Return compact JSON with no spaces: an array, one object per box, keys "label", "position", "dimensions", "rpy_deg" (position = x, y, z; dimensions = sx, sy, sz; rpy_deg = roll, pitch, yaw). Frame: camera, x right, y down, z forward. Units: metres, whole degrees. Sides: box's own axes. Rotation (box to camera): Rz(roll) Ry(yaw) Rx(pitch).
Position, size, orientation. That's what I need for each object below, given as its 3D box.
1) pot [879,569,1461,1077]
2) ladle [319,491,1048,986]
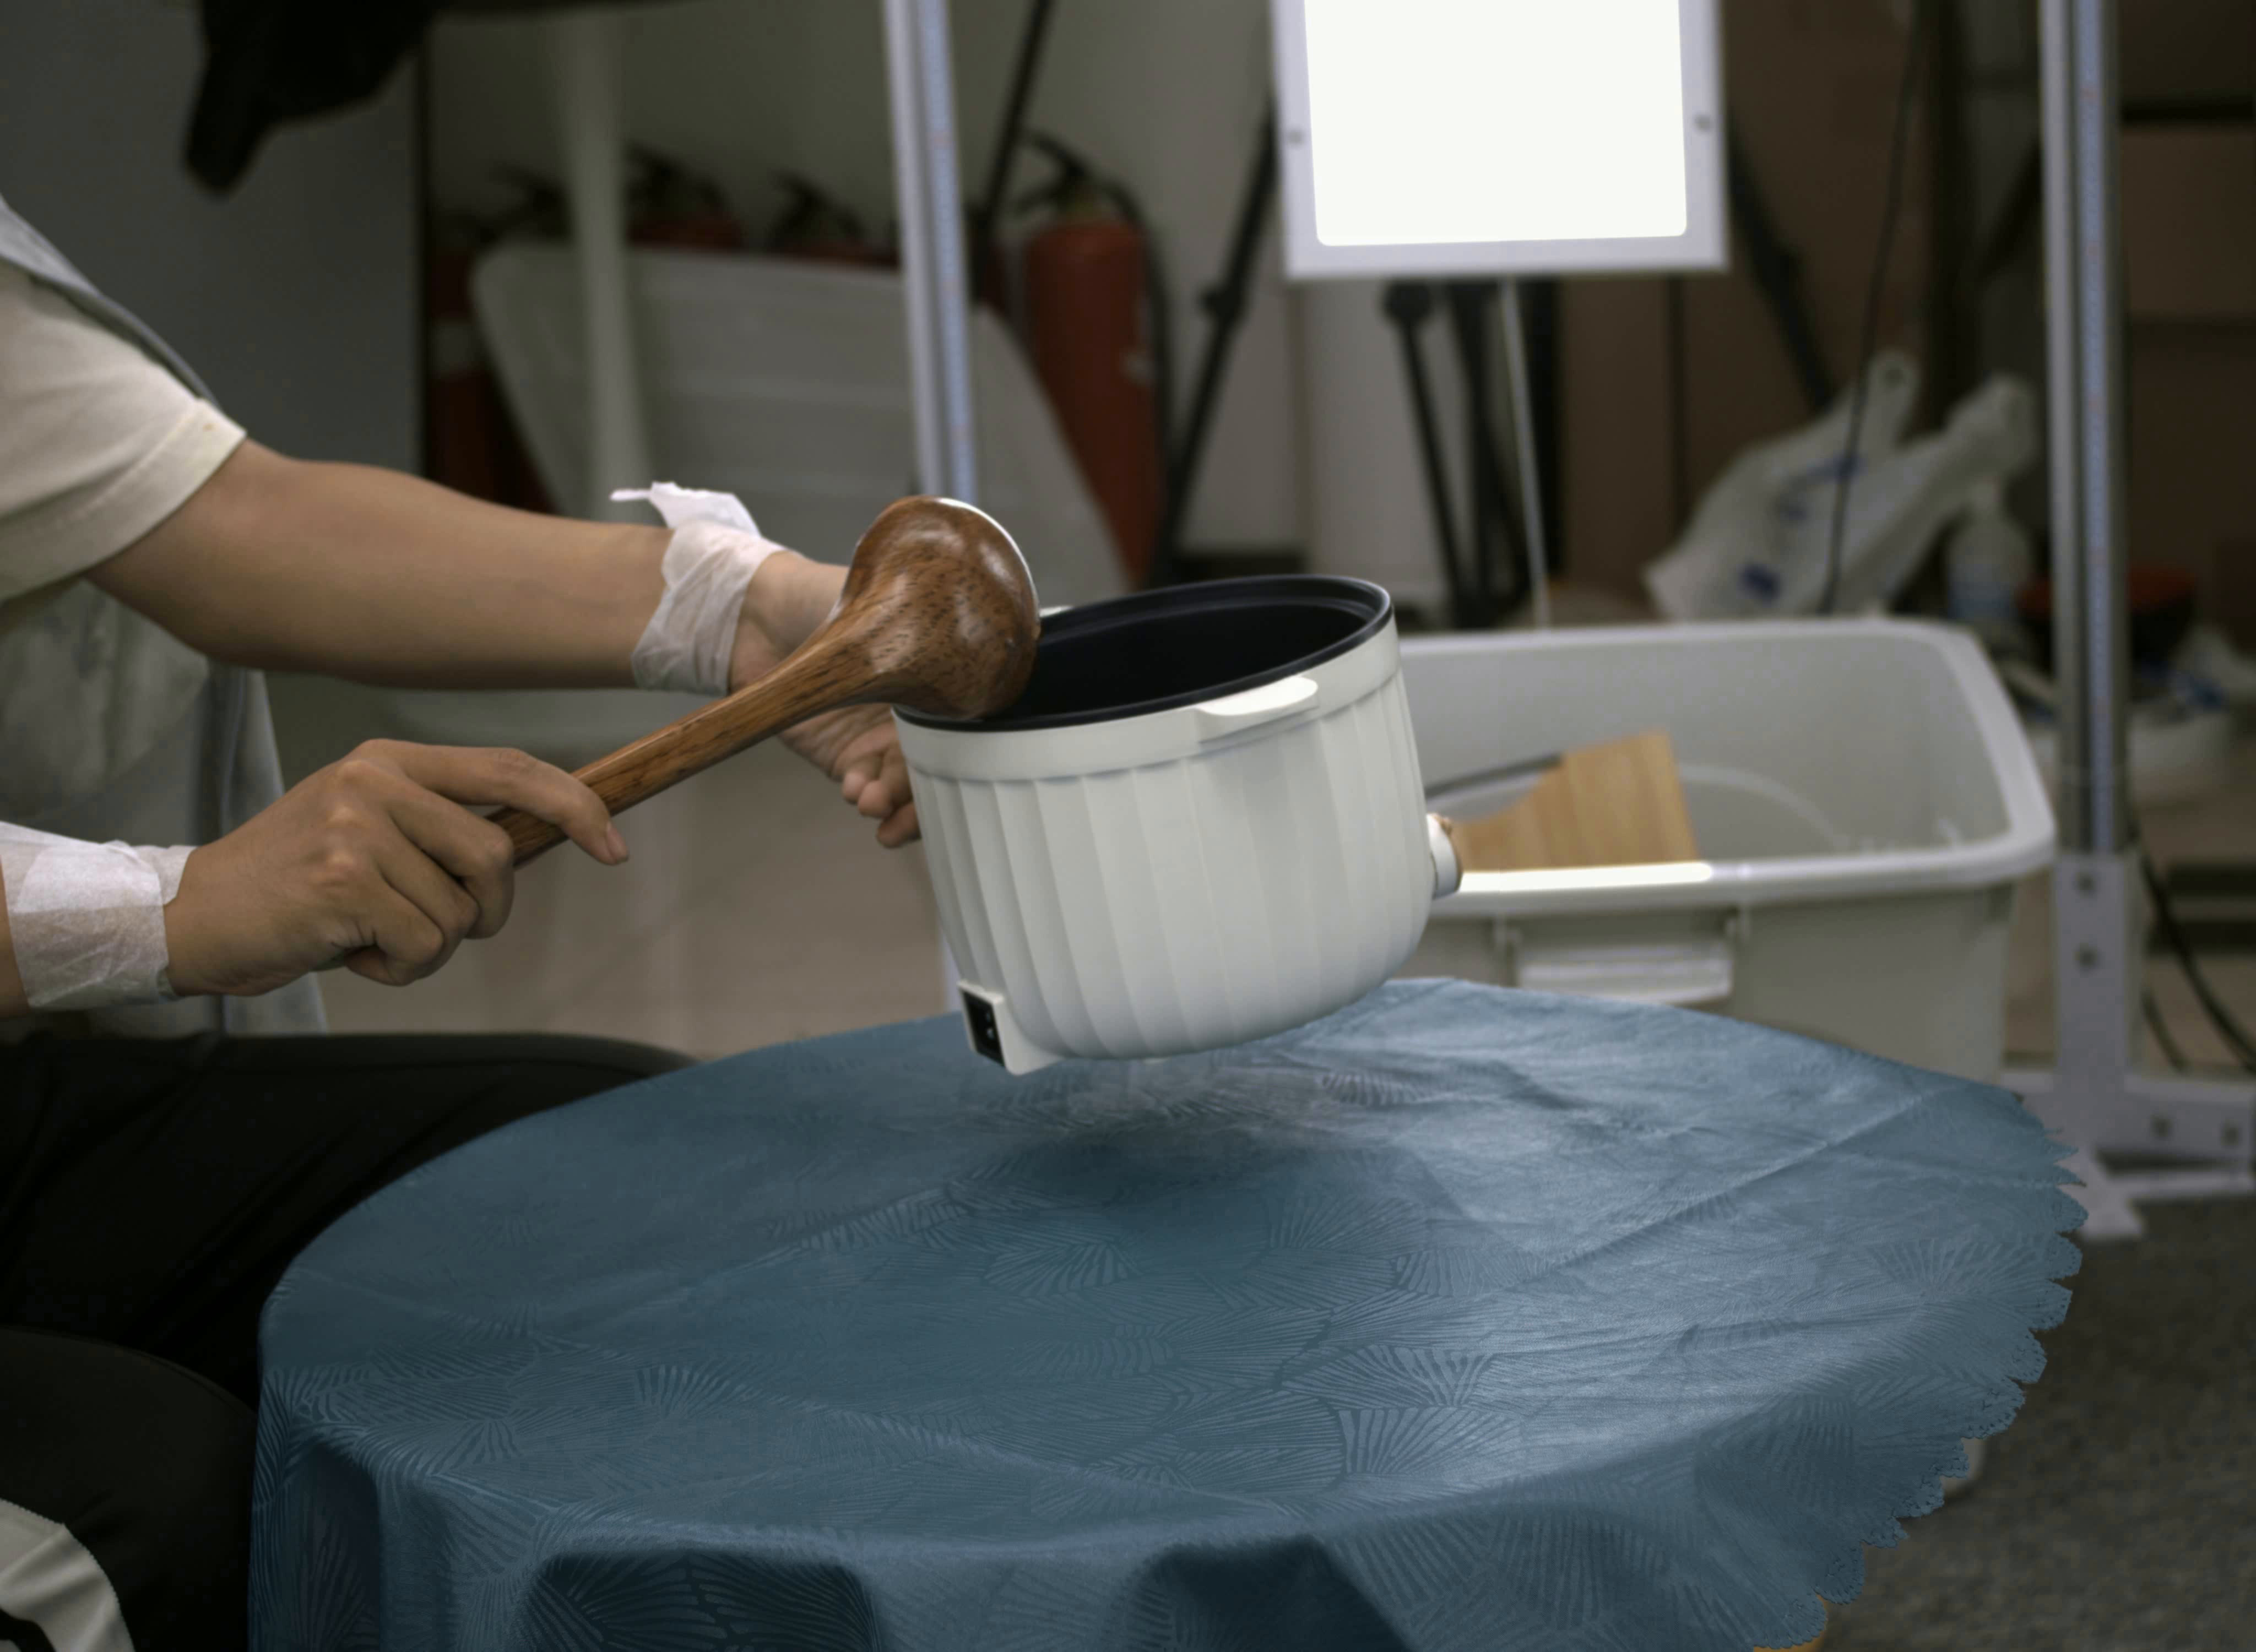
[{"label":"pot","position":[0.021,-0.003,1.957],"dimensions":[0.187,0.143,0.244],"rpy_deg":[-20,17,-18]},{"label":"ladle","position":[-0.151,-0.025,1.871],"dimensions":[0.273,0.082,0.076],"rpy_deg":[-30,-2,-2]}]
